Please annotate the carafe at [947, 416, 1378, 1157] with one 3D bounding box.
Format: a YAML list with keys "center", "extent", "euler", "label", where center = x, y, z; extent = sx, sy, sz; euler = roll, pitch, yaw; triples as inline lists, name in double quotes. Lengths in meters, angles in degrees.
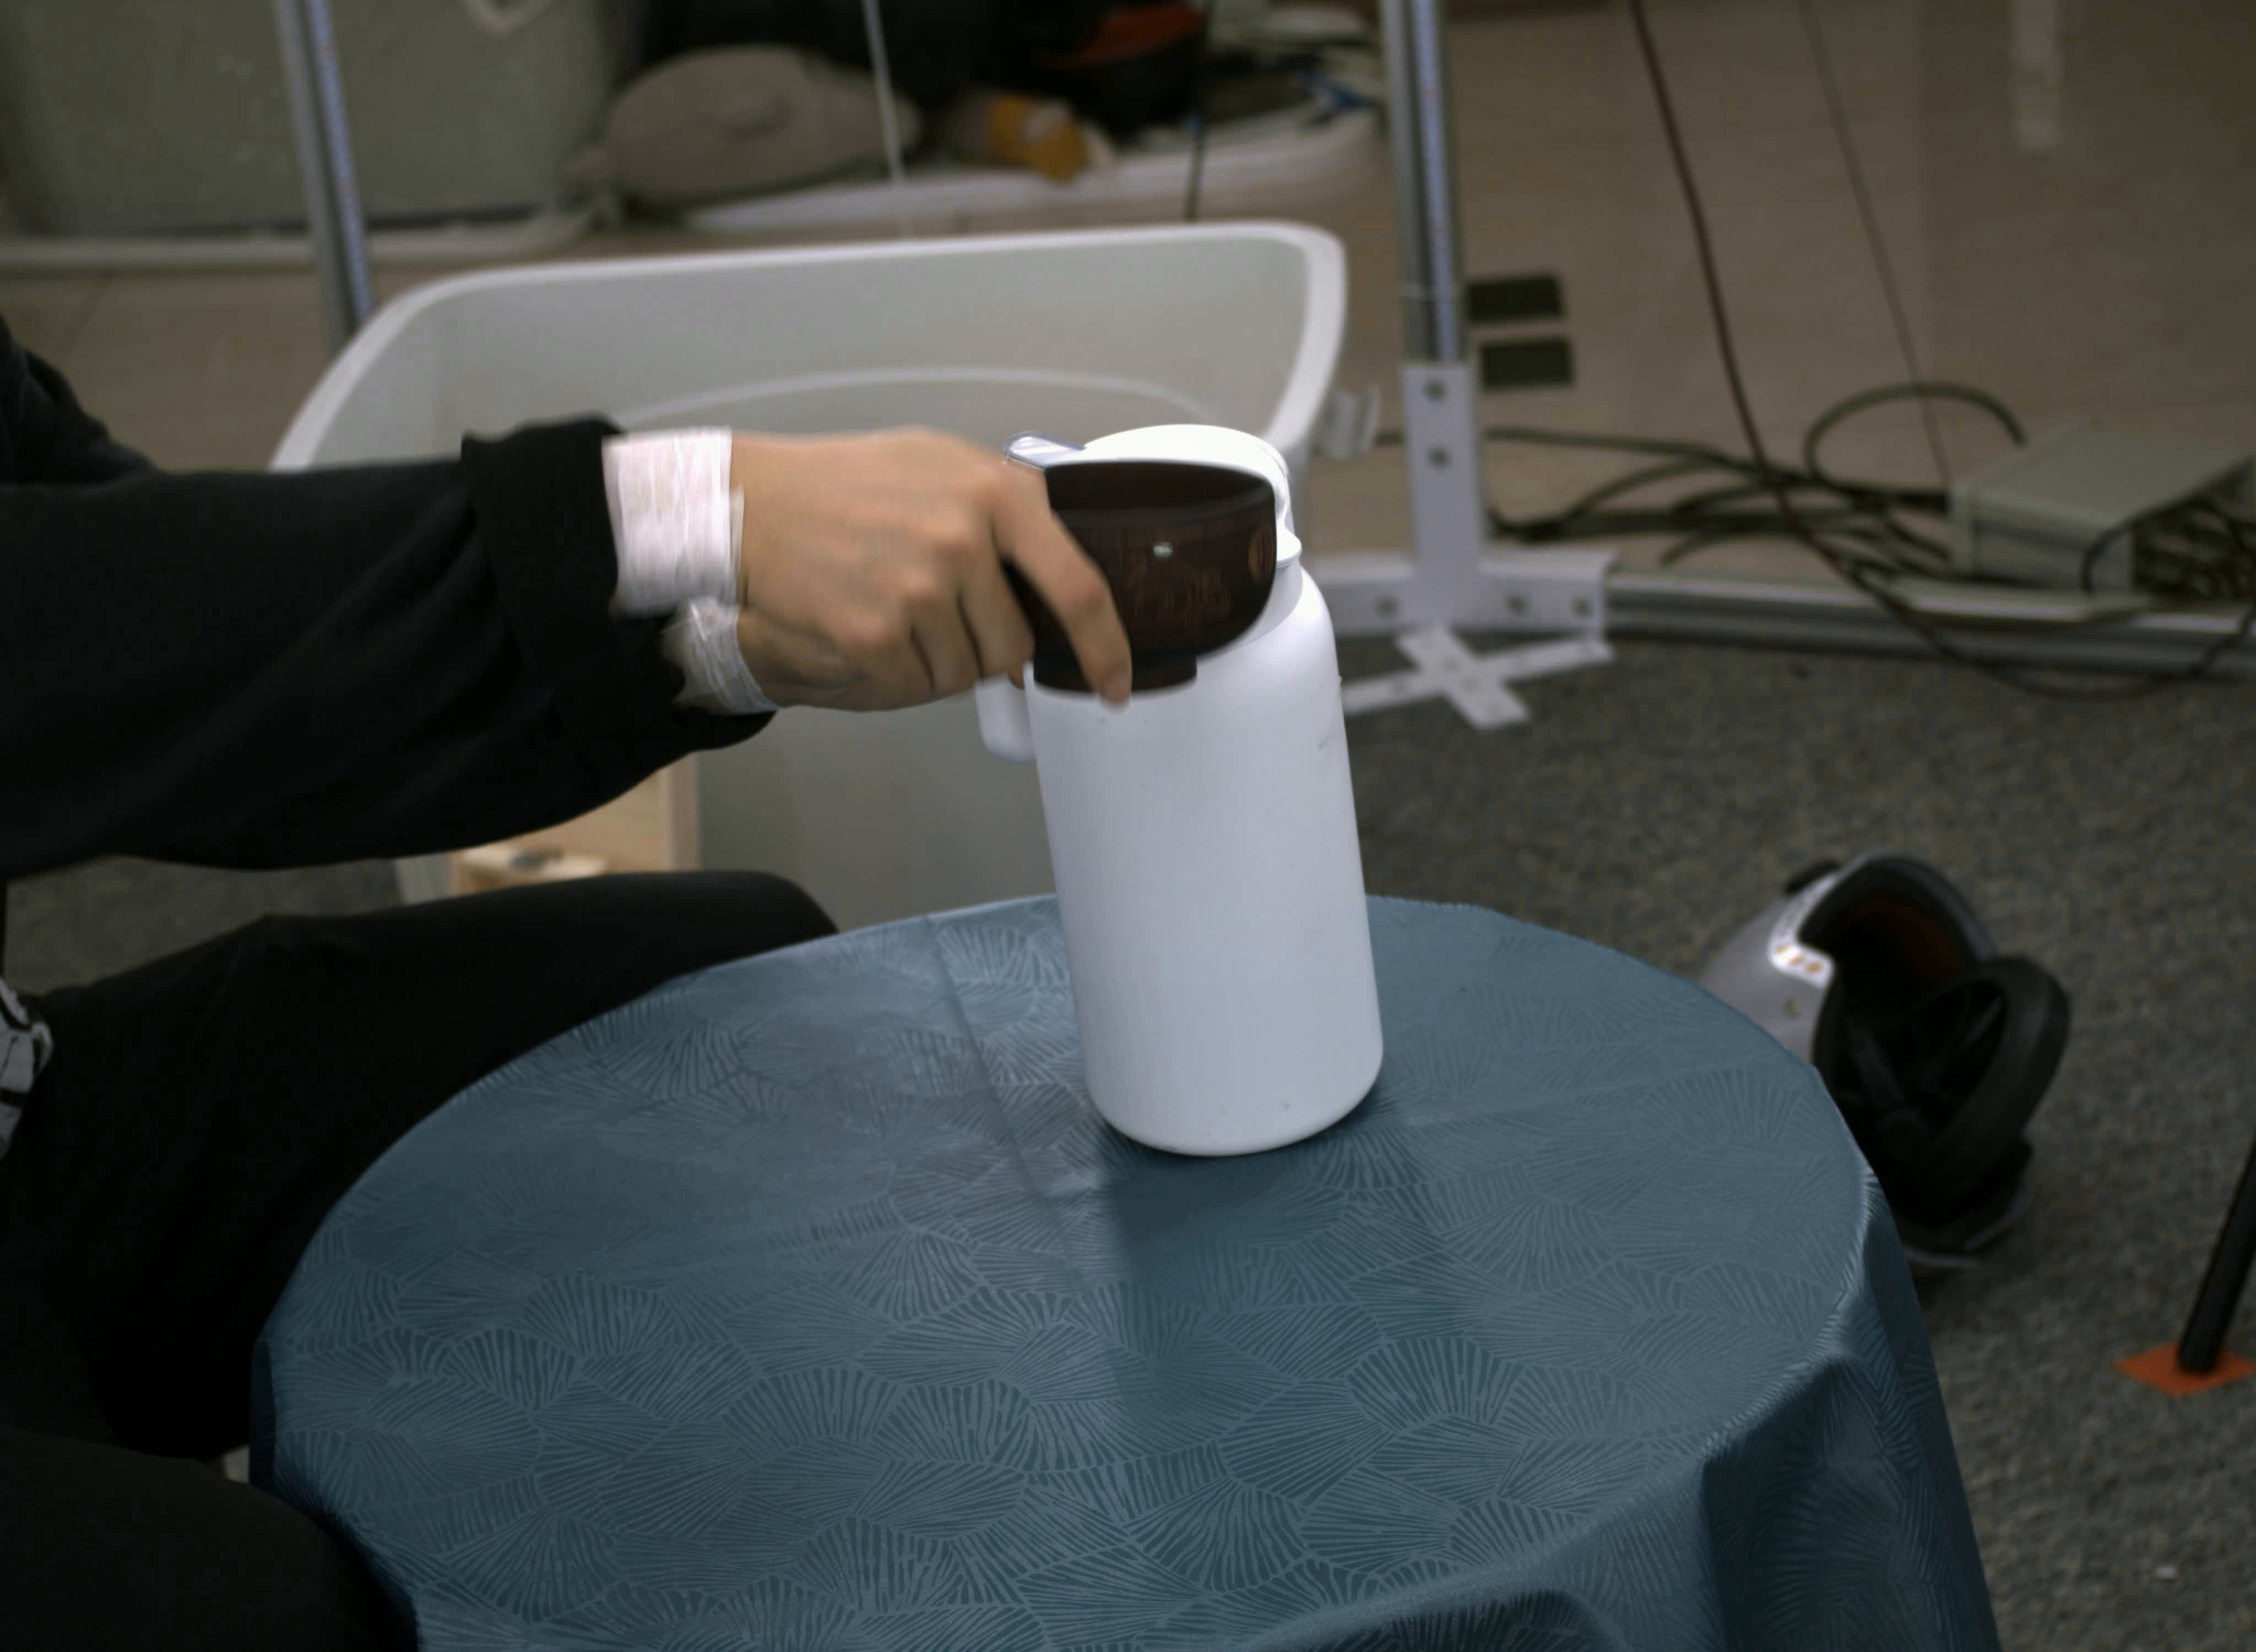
- center: [0.012, -0.017, 2.147]
  extent: [0.171, 0.274, 0.122]
  euler: [21, 45, 37]
  label: "carafe"

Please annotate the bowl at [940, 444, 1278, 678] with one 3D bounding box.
- center: [-0.006, -0.091, 1.967]
  extent: [0.118, 0.070, 0.117]
  euler: [-2, 13, 0]
  label: "bowl"
